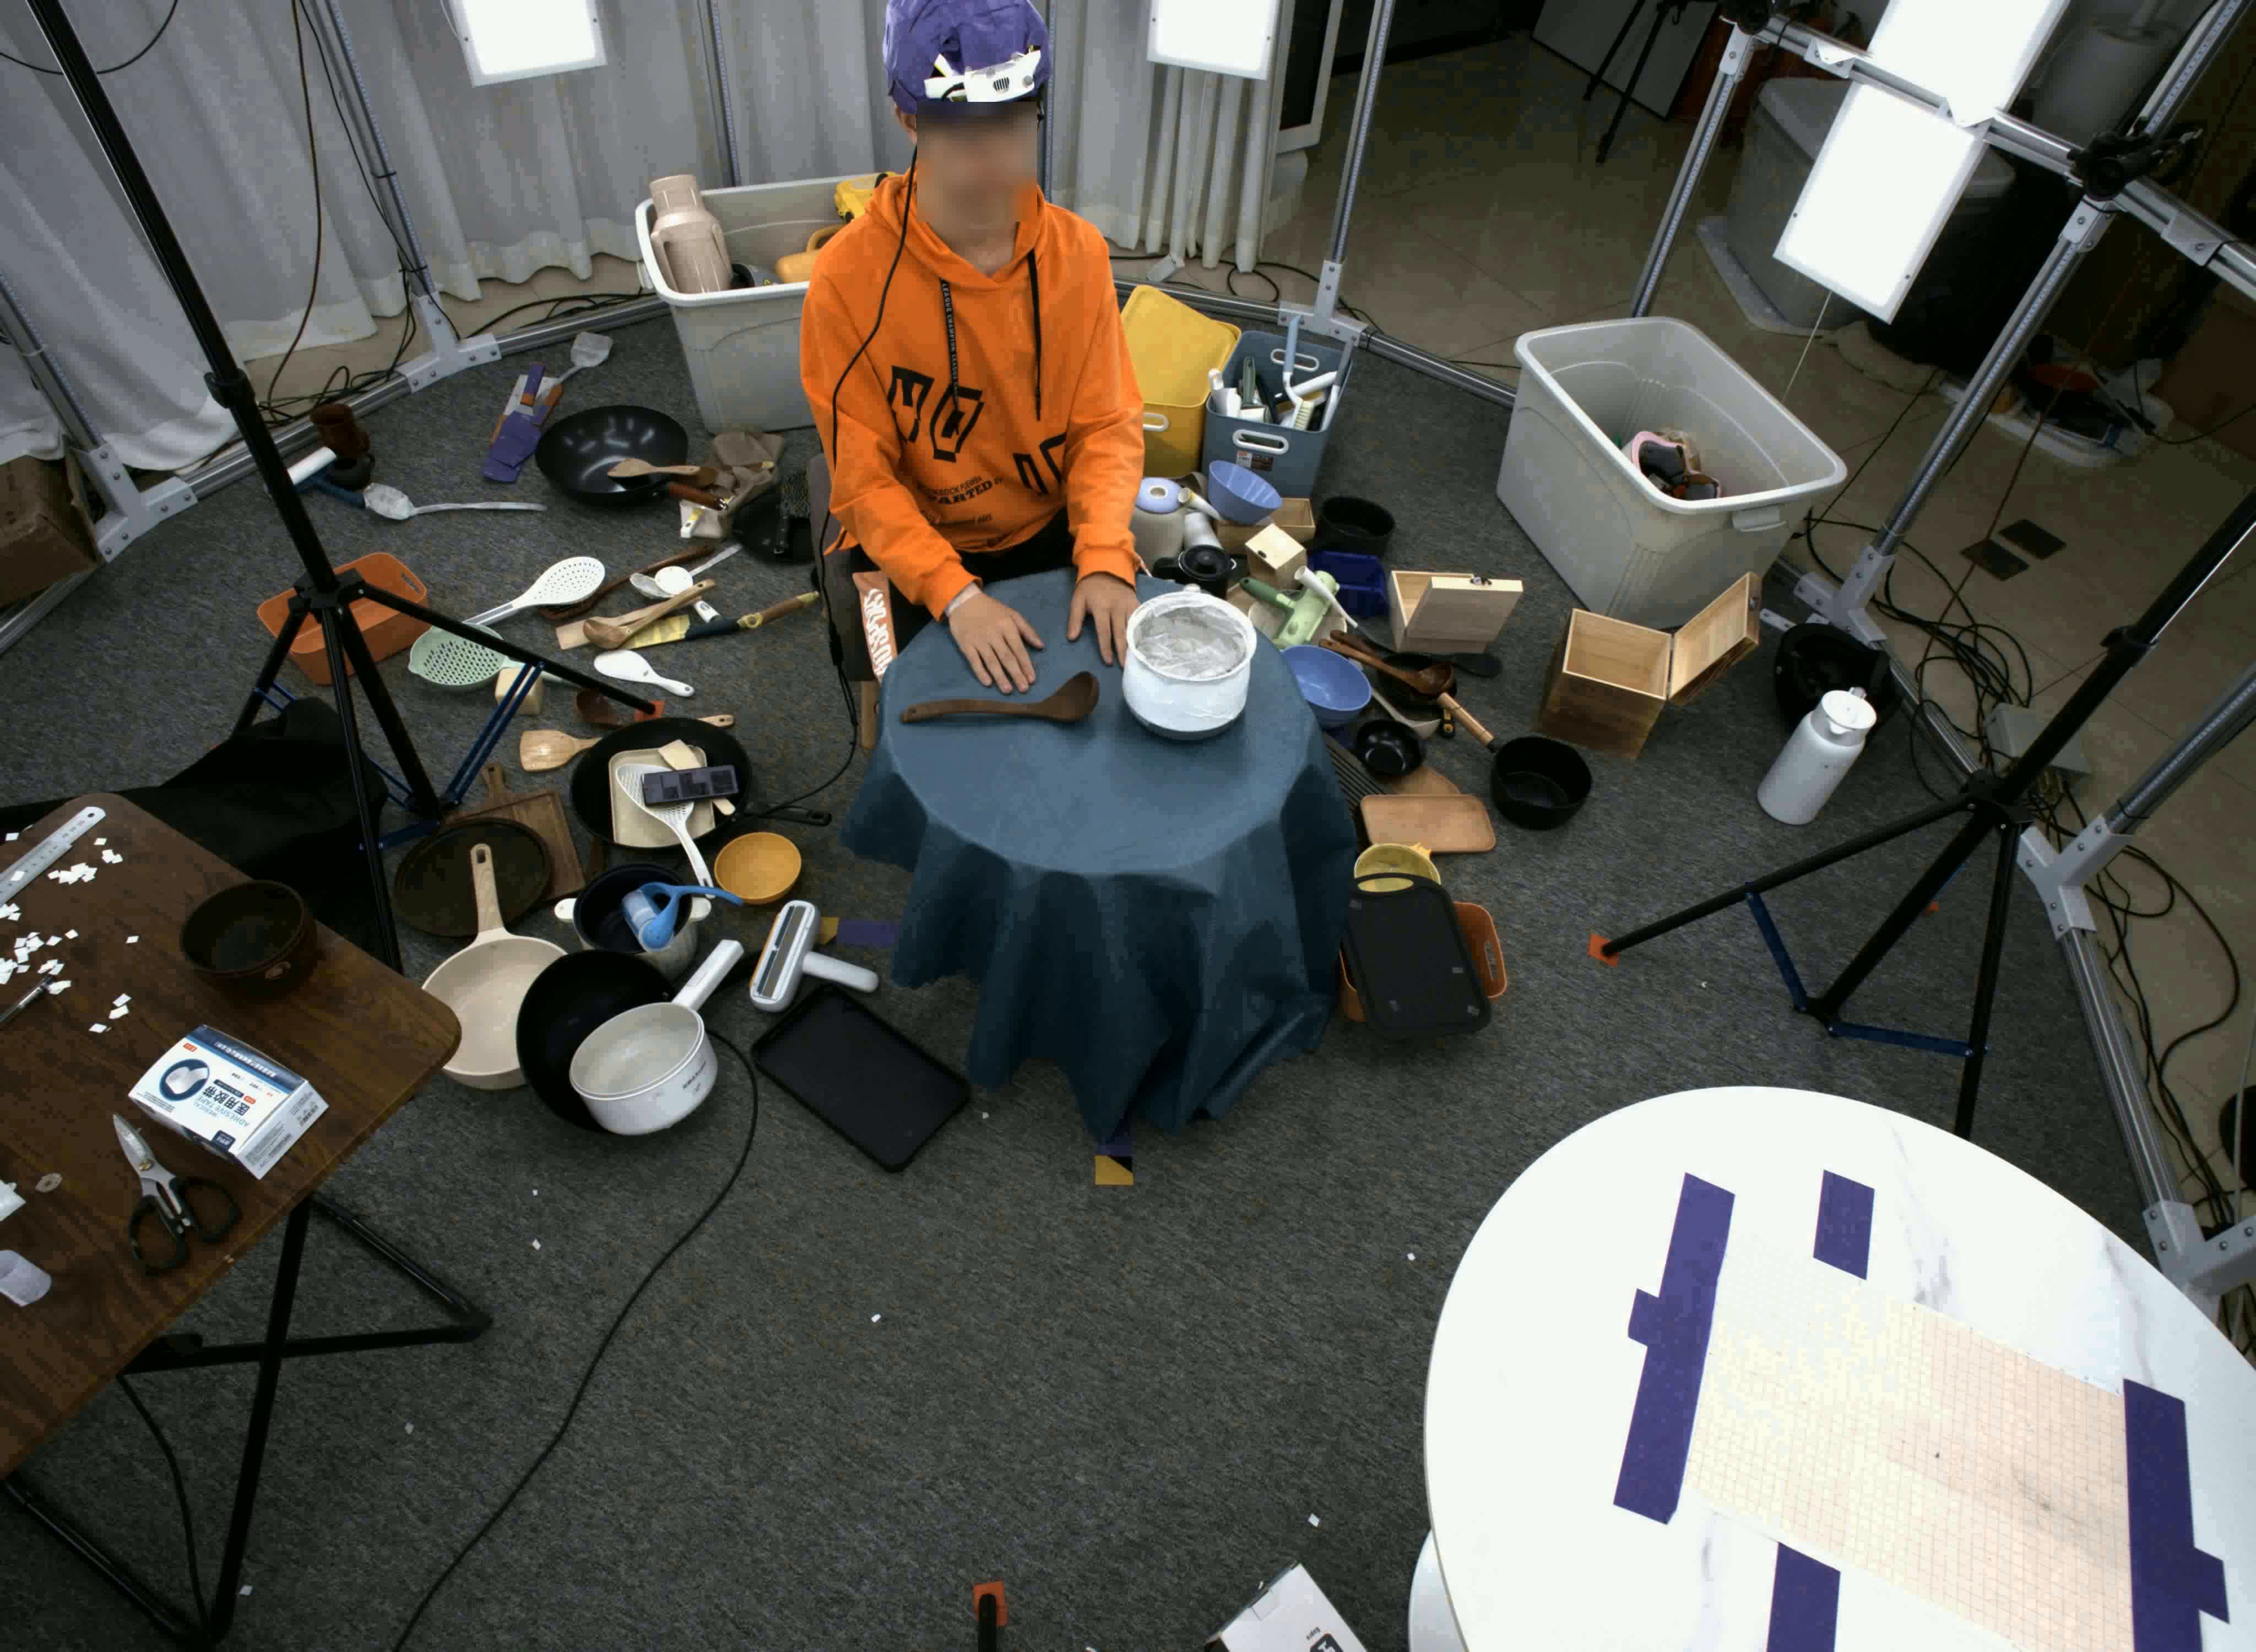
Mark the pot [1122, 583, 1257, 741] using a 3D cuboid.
[{"bbox_3d":[0.083,-0.239,1.793,0.178,0.133,0.239,4,49,-2],"label":"pot"}]

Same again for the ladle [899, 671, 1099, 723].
[{"bbox_3d":[-0.177,-0.176,1.764,0.274,0.069,0.078,-1,46,-6],"label":"ladle"}]
